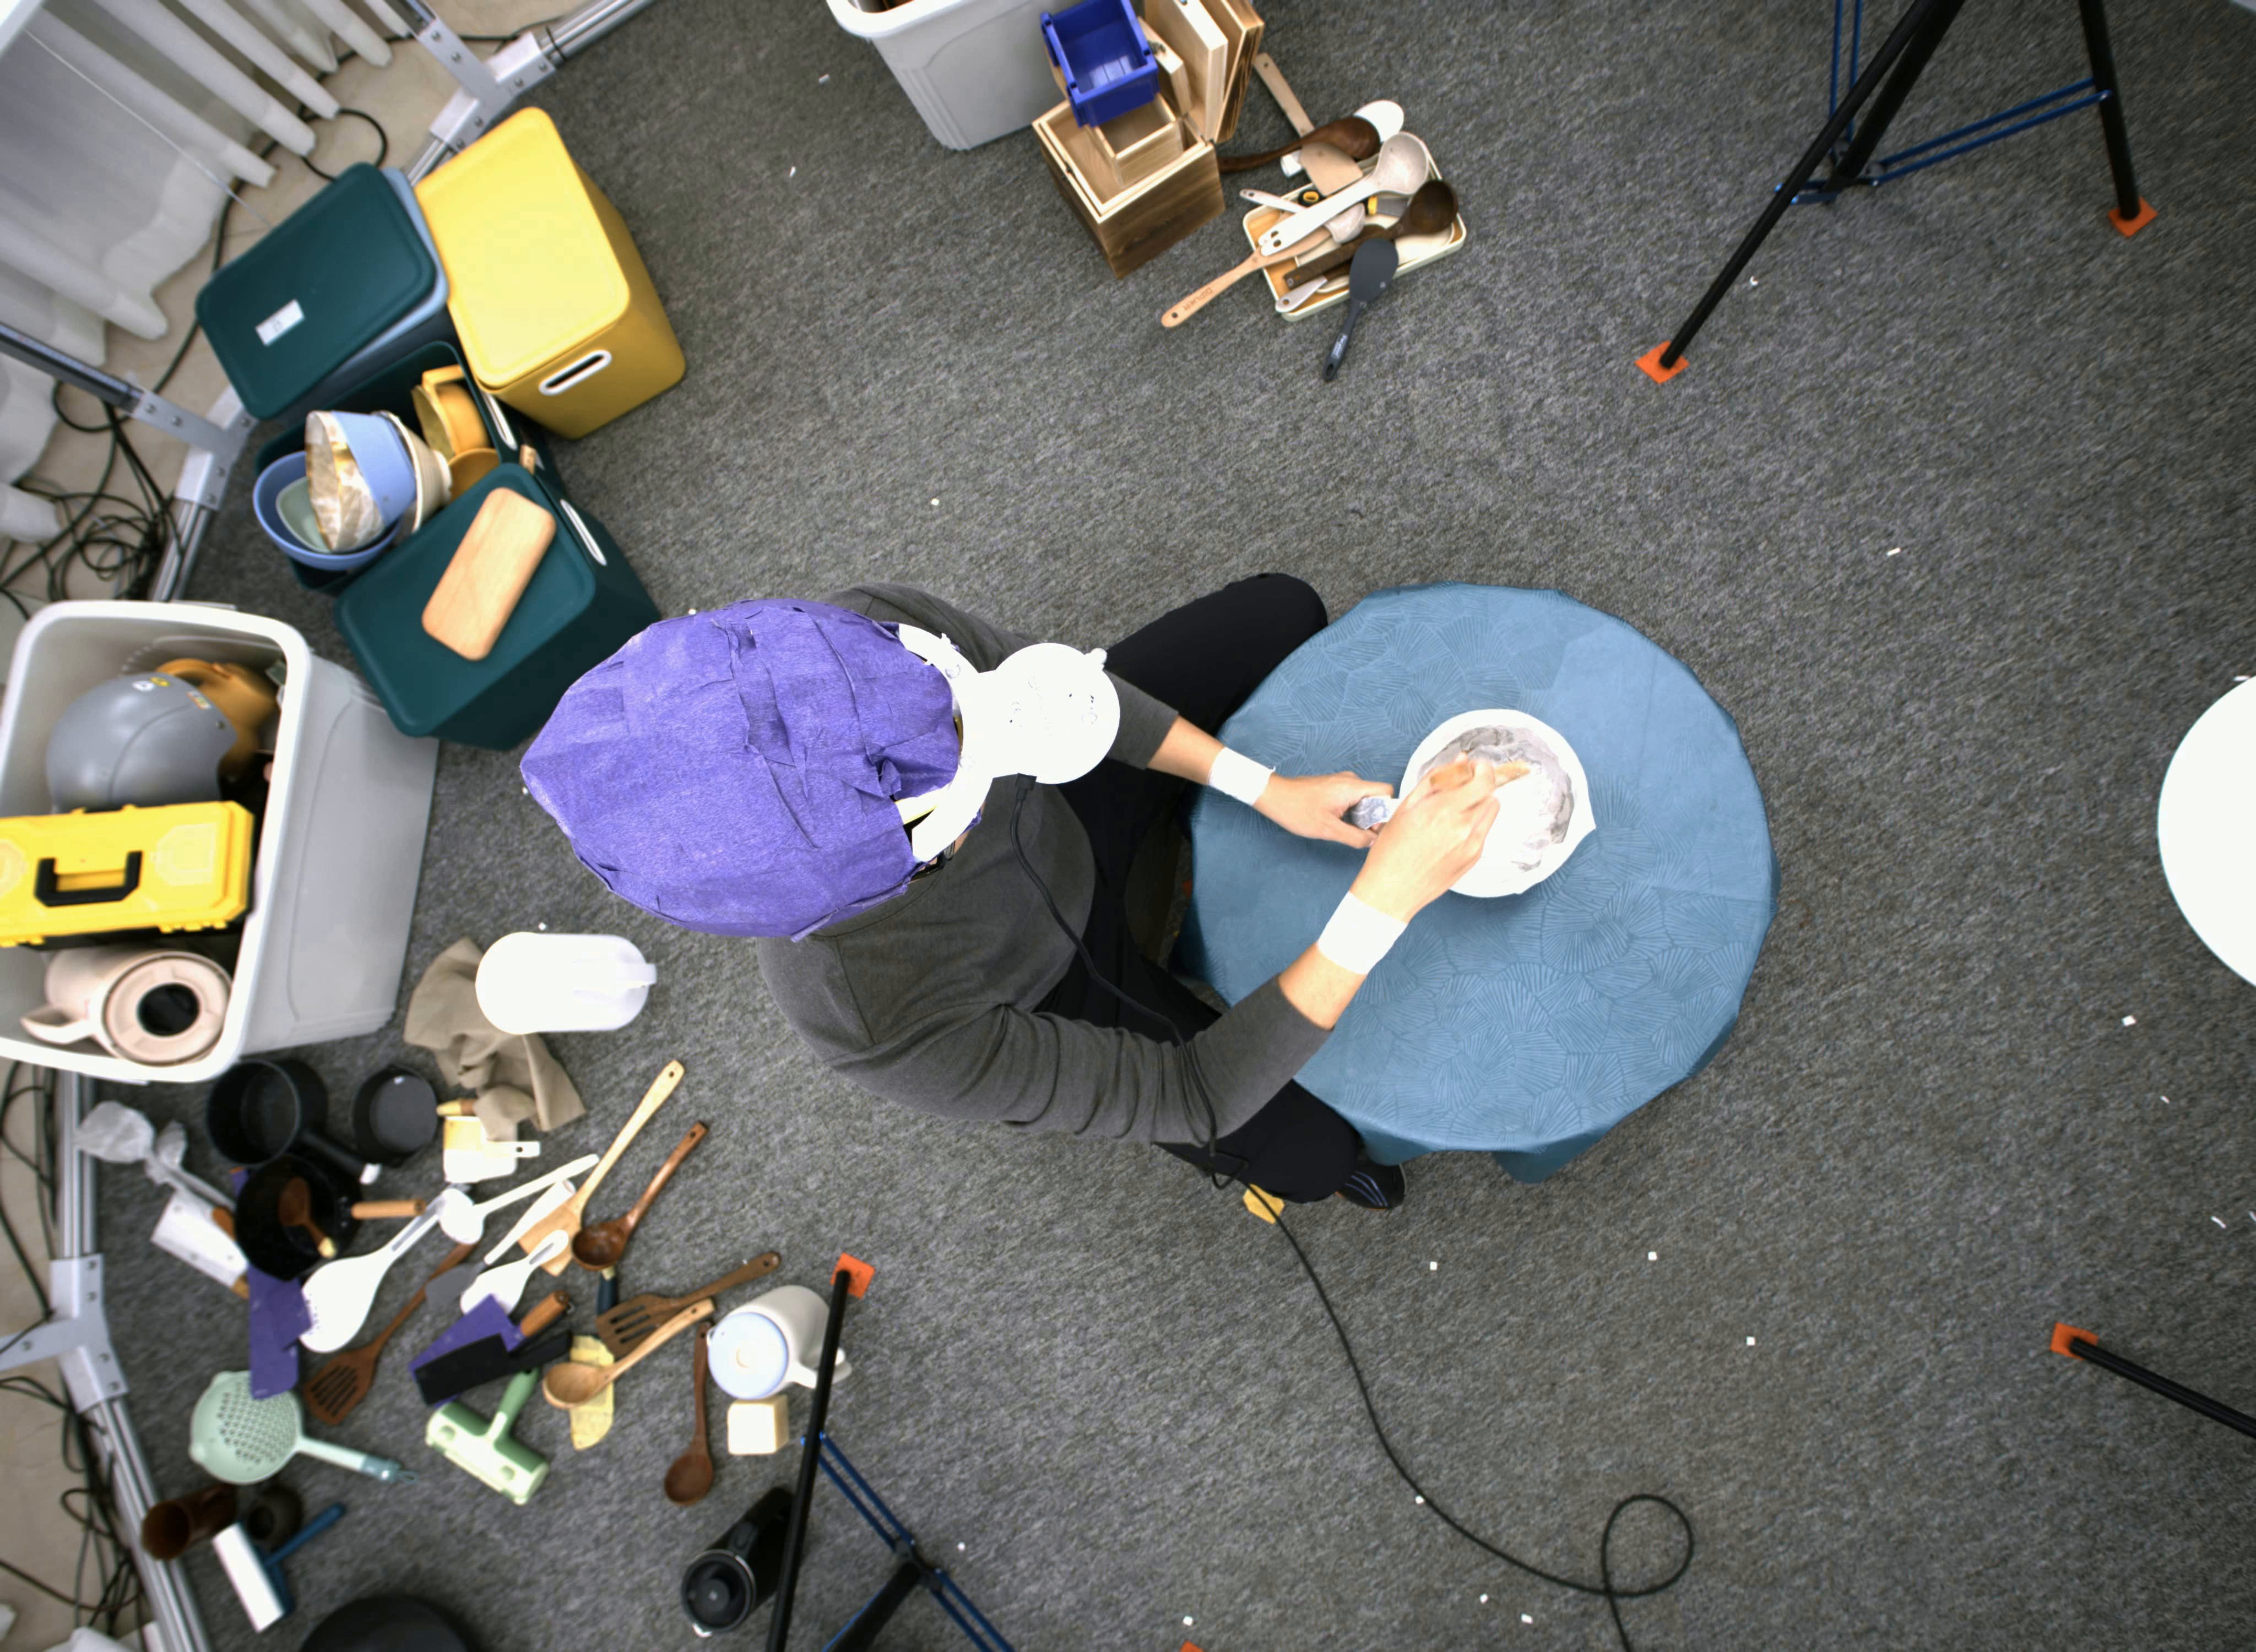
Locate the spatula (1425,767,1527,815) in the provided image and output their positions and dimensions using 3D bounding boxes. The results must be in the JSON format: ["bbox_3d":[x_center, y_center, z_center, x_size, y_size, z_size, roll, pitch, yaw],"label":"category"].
[{"bbox_3d":[0.287,-0.033,1.179,0.097,0.388,0.018,-24,84,18],"label":"spatula"}]

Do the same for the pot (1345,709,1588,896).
[{"bbox_3d":[0.335,-0.019,1.385,0.235,0.136,0.178,-5,85,11],"label":"pot"}]
